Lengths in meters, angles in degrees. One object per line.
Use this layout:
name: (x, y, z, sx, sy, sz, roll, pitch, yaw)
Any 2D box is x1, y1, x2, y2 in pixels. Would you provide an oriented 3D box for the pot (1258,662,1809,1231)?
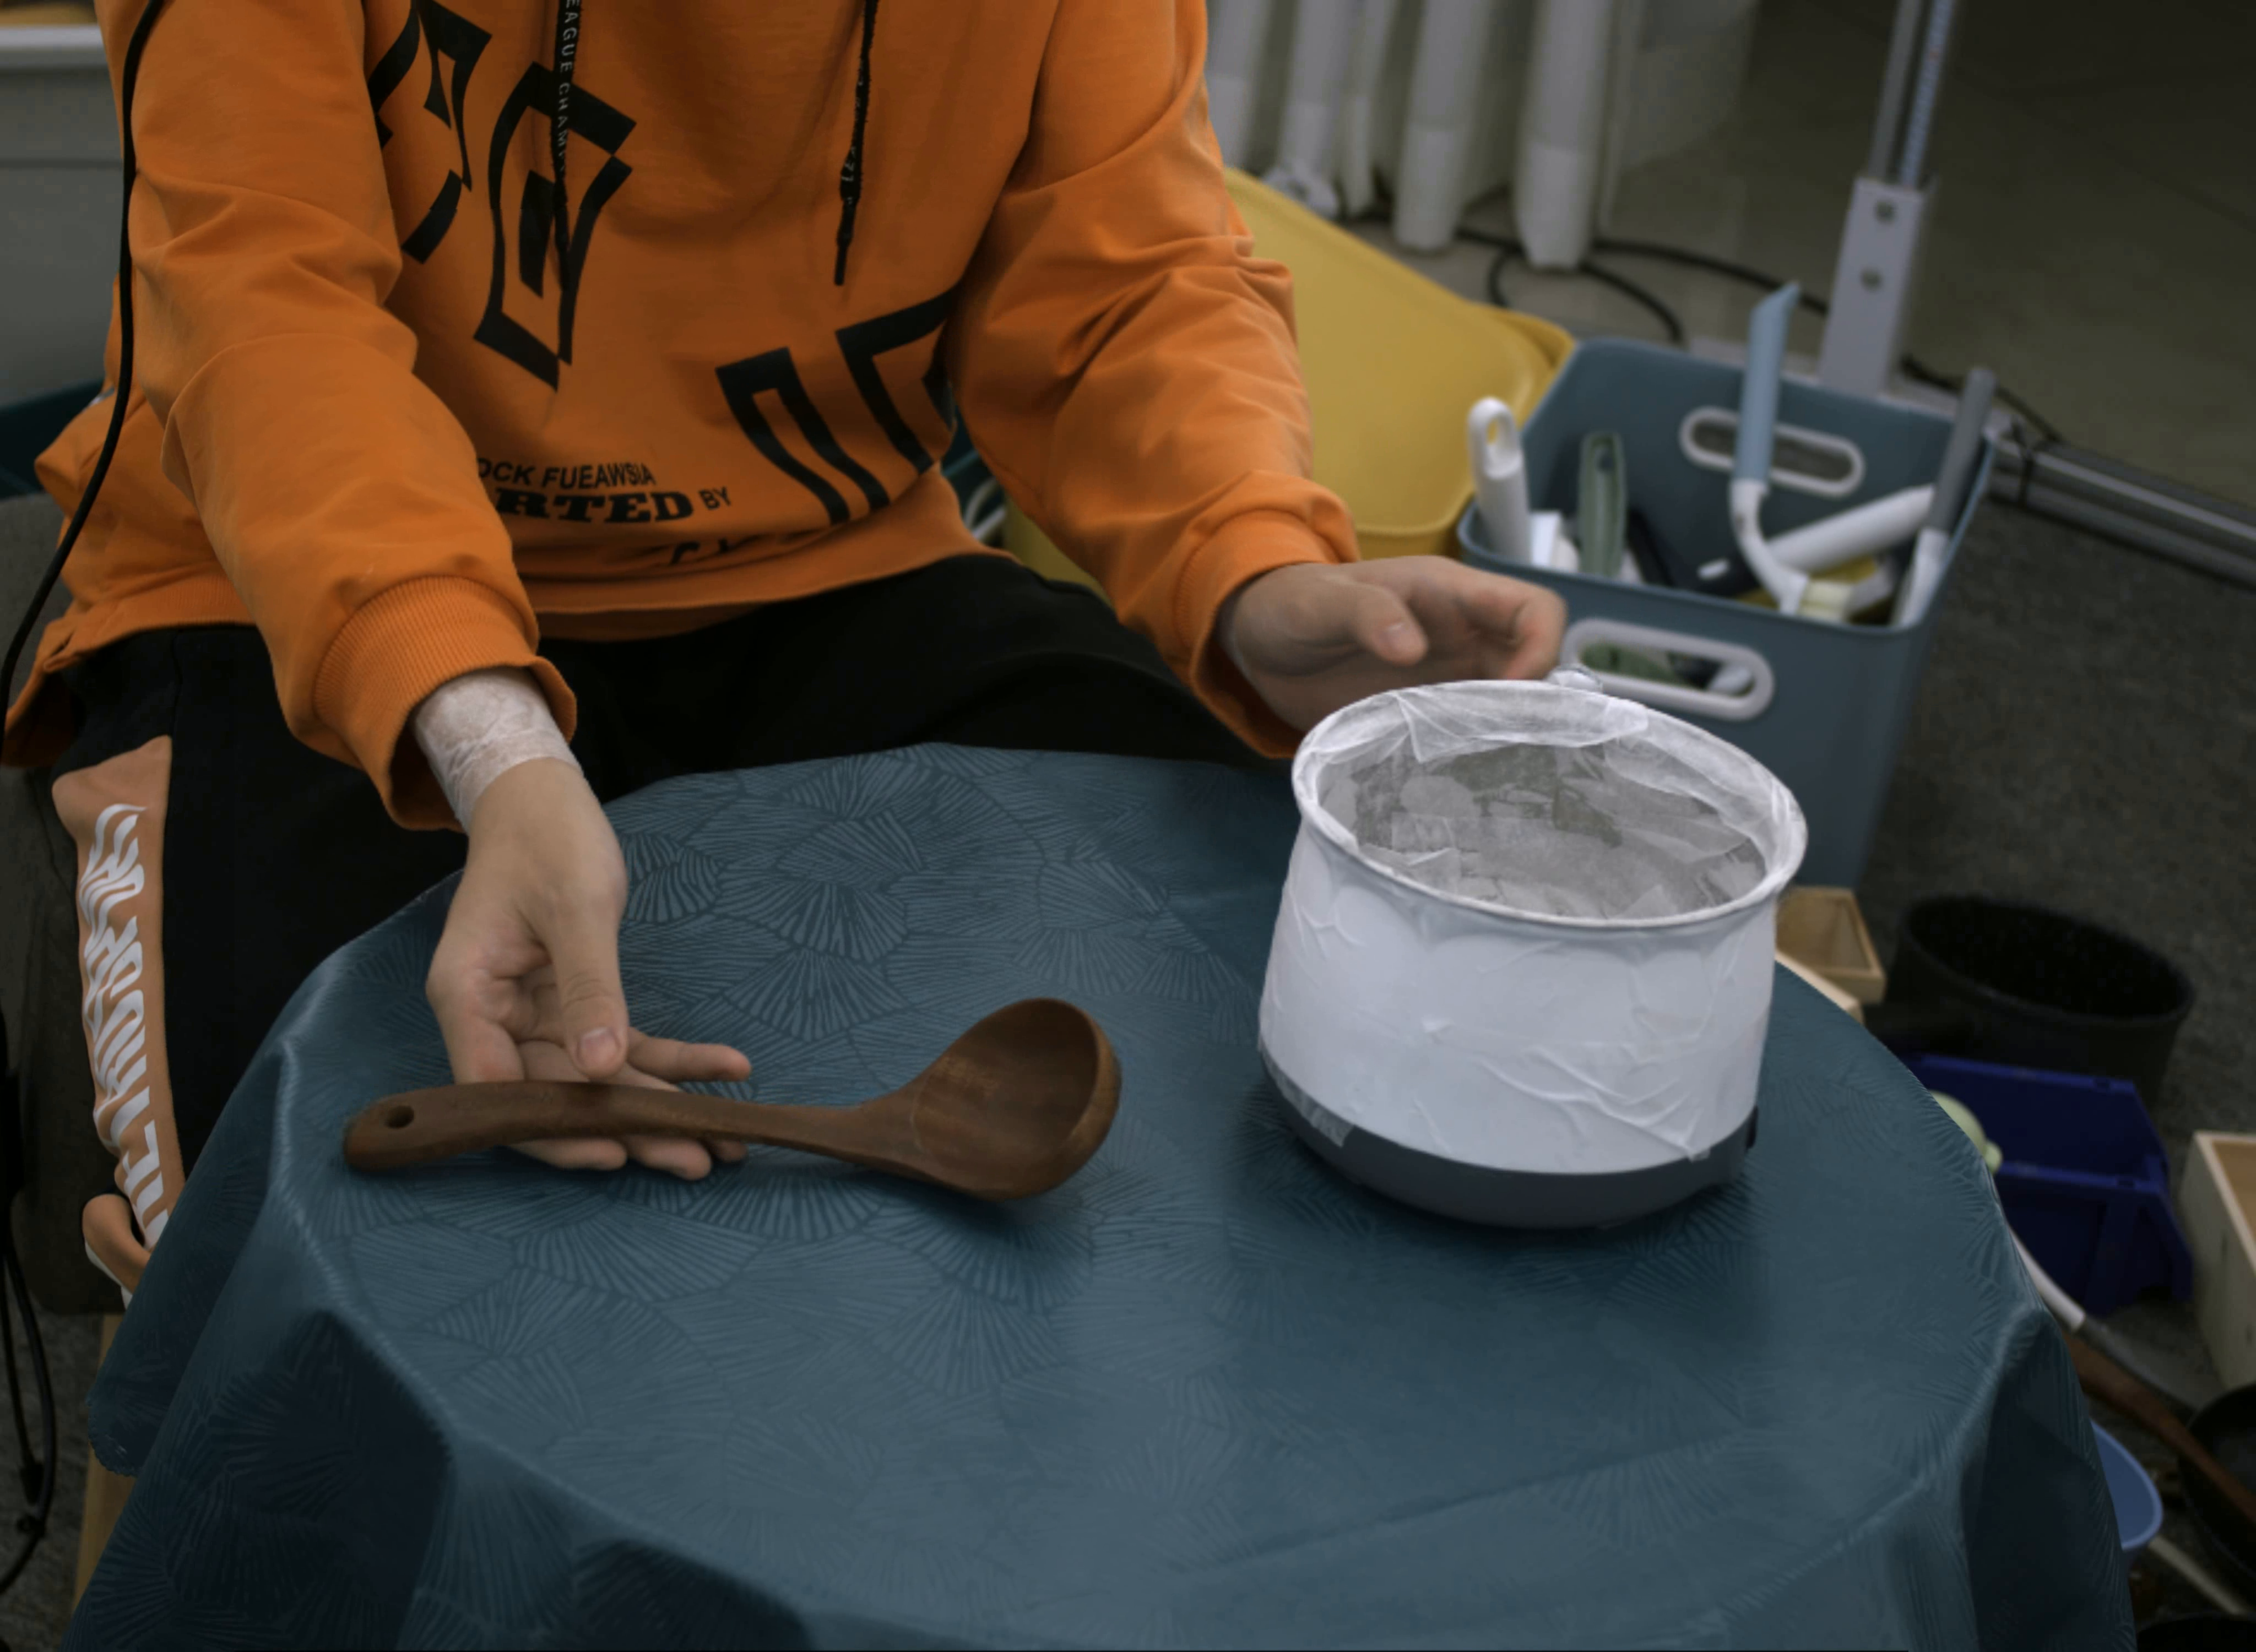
pot: (0.140, 0.034, 1.858, 0.178, 0.136, 0.235, 9, 27, 4)

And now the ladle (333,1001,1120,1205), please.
ladle: (-0.132, 0.090, 1.769, 0.259, 0.065, 0.077, 2, 41, -10)
